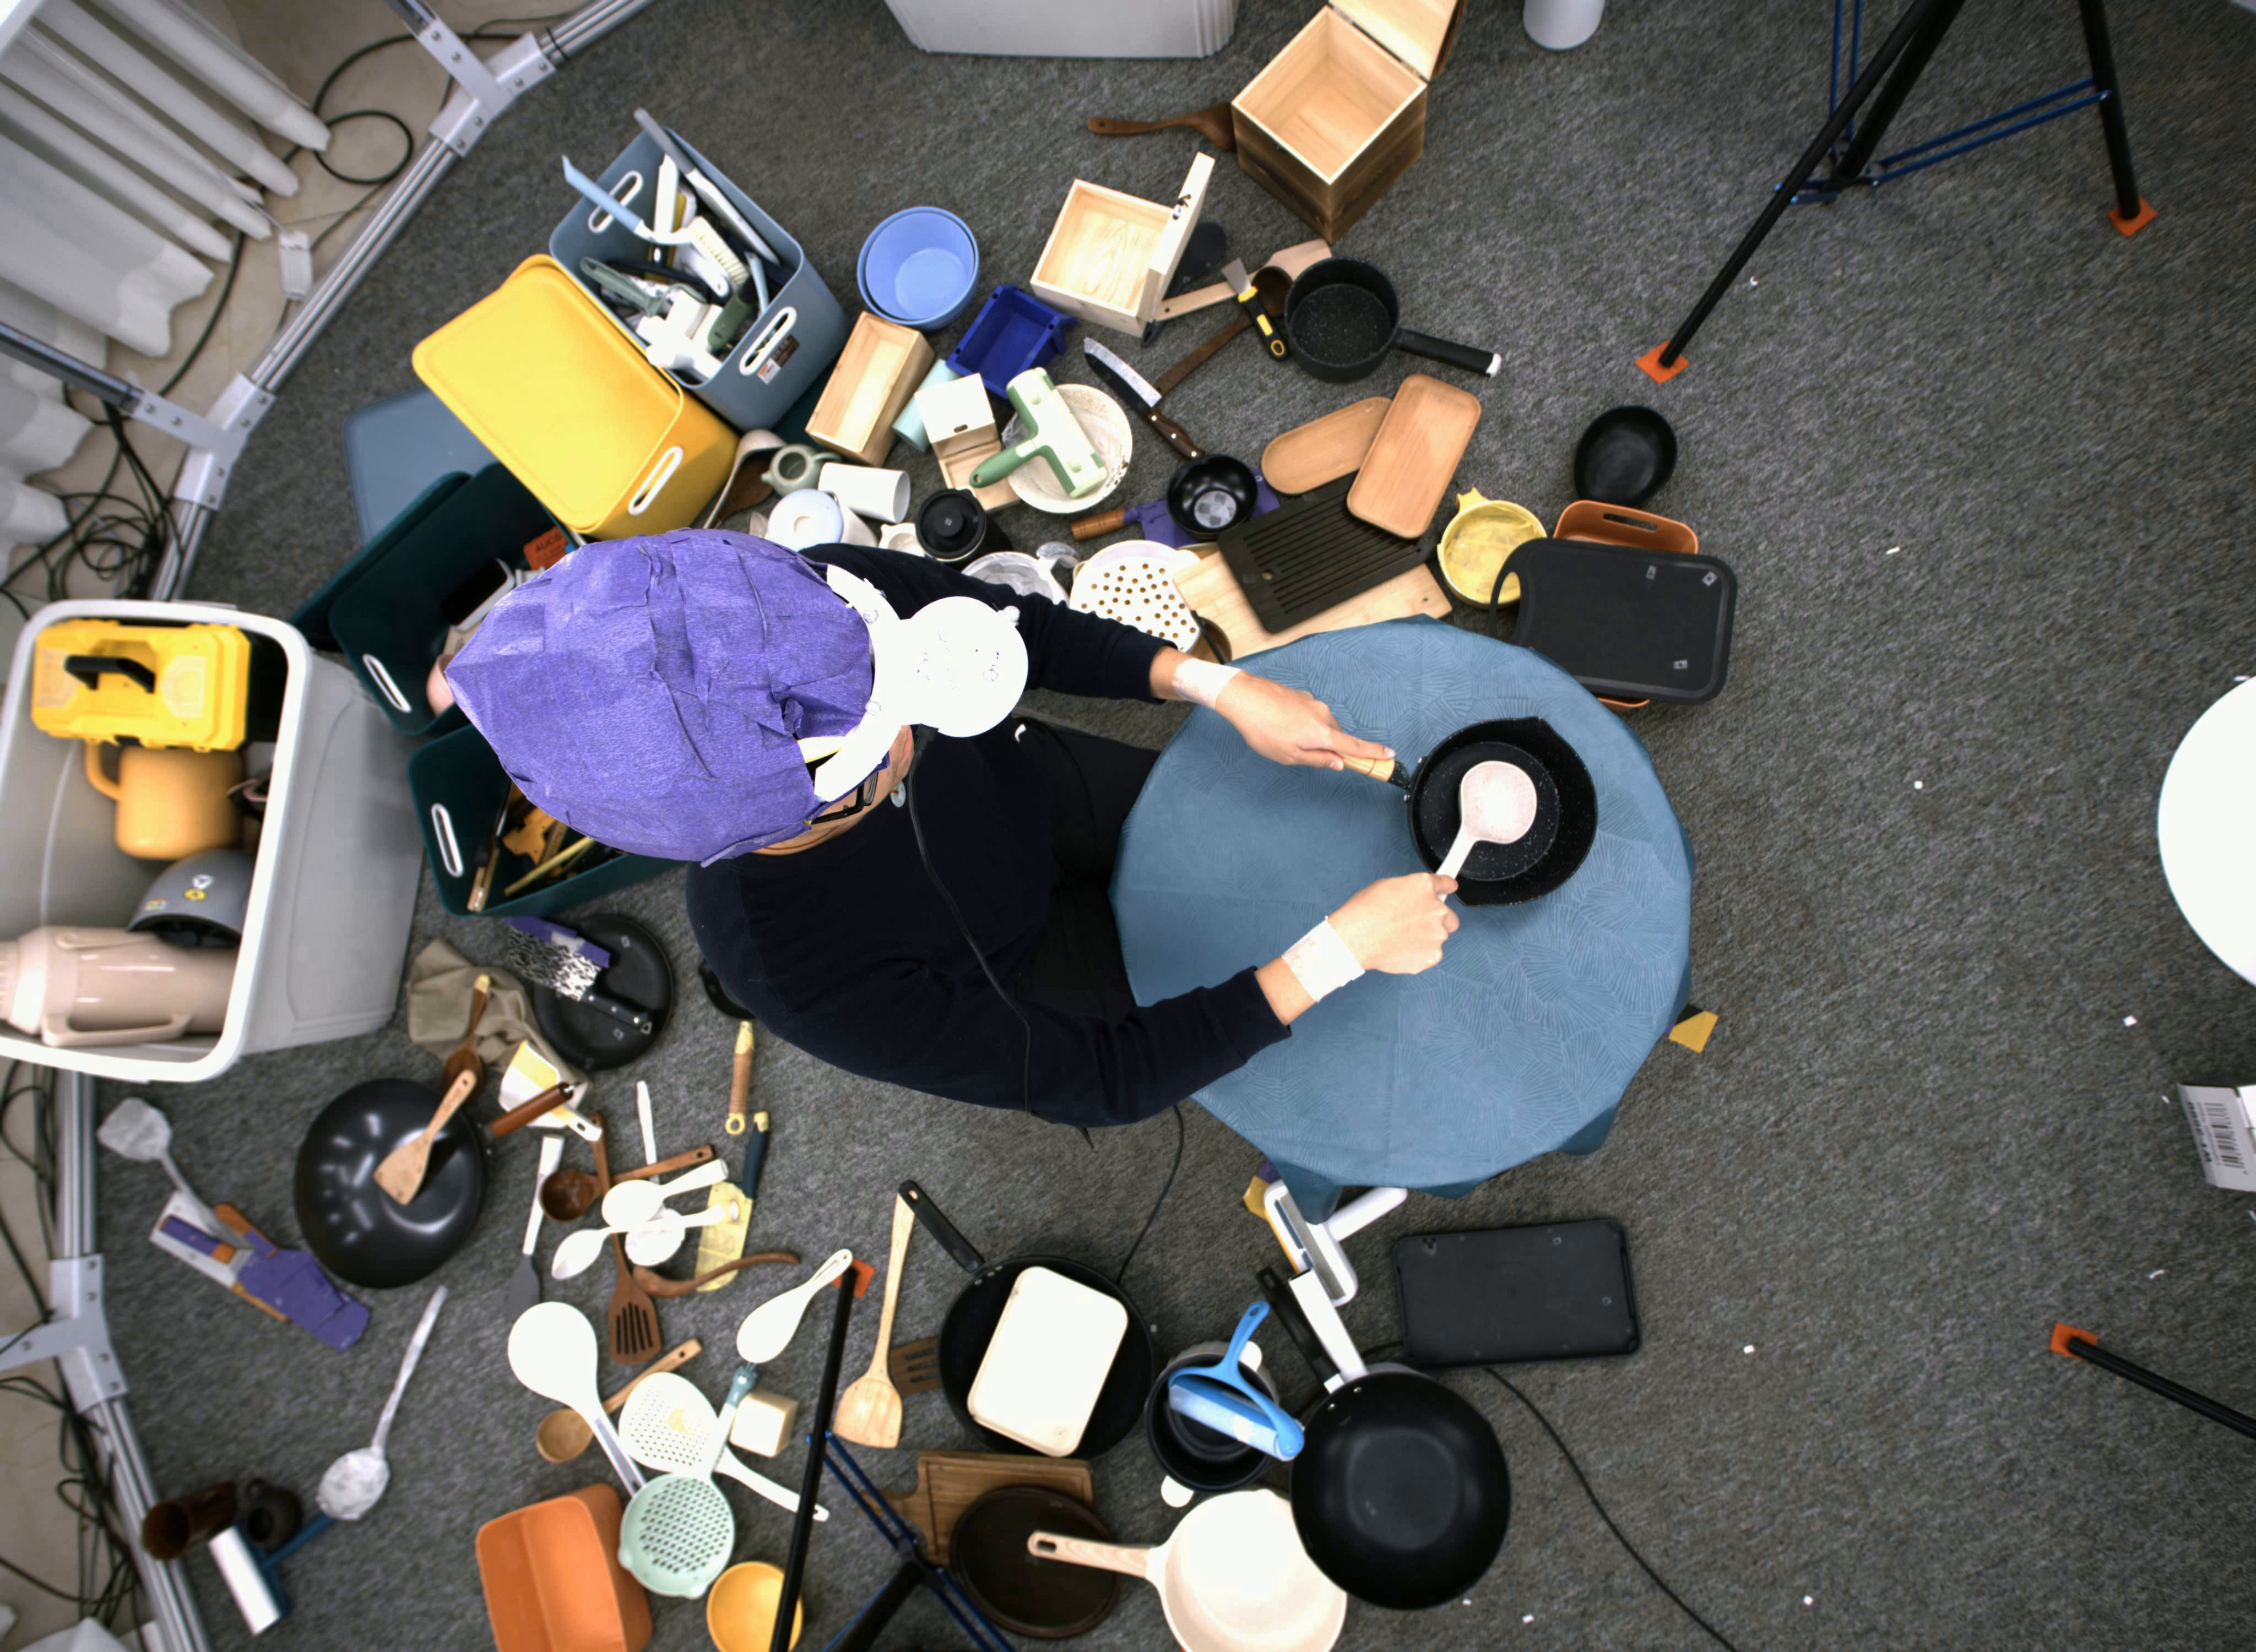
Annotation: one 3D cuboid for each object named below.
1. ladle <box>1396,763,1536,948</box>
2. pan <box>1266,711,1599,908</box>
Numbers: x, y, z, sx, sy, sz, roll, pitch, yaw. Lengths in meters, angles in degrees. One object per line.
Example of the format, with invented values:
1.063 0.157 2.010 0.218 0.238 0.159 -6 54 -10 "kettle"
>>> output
0.328 0.028 1.323 0.070 0.268 0.090 -24 105 39 "ladle"
0.298 -0.043 1.386 0.343 0.107 0.208 20 97 2 "pan"
